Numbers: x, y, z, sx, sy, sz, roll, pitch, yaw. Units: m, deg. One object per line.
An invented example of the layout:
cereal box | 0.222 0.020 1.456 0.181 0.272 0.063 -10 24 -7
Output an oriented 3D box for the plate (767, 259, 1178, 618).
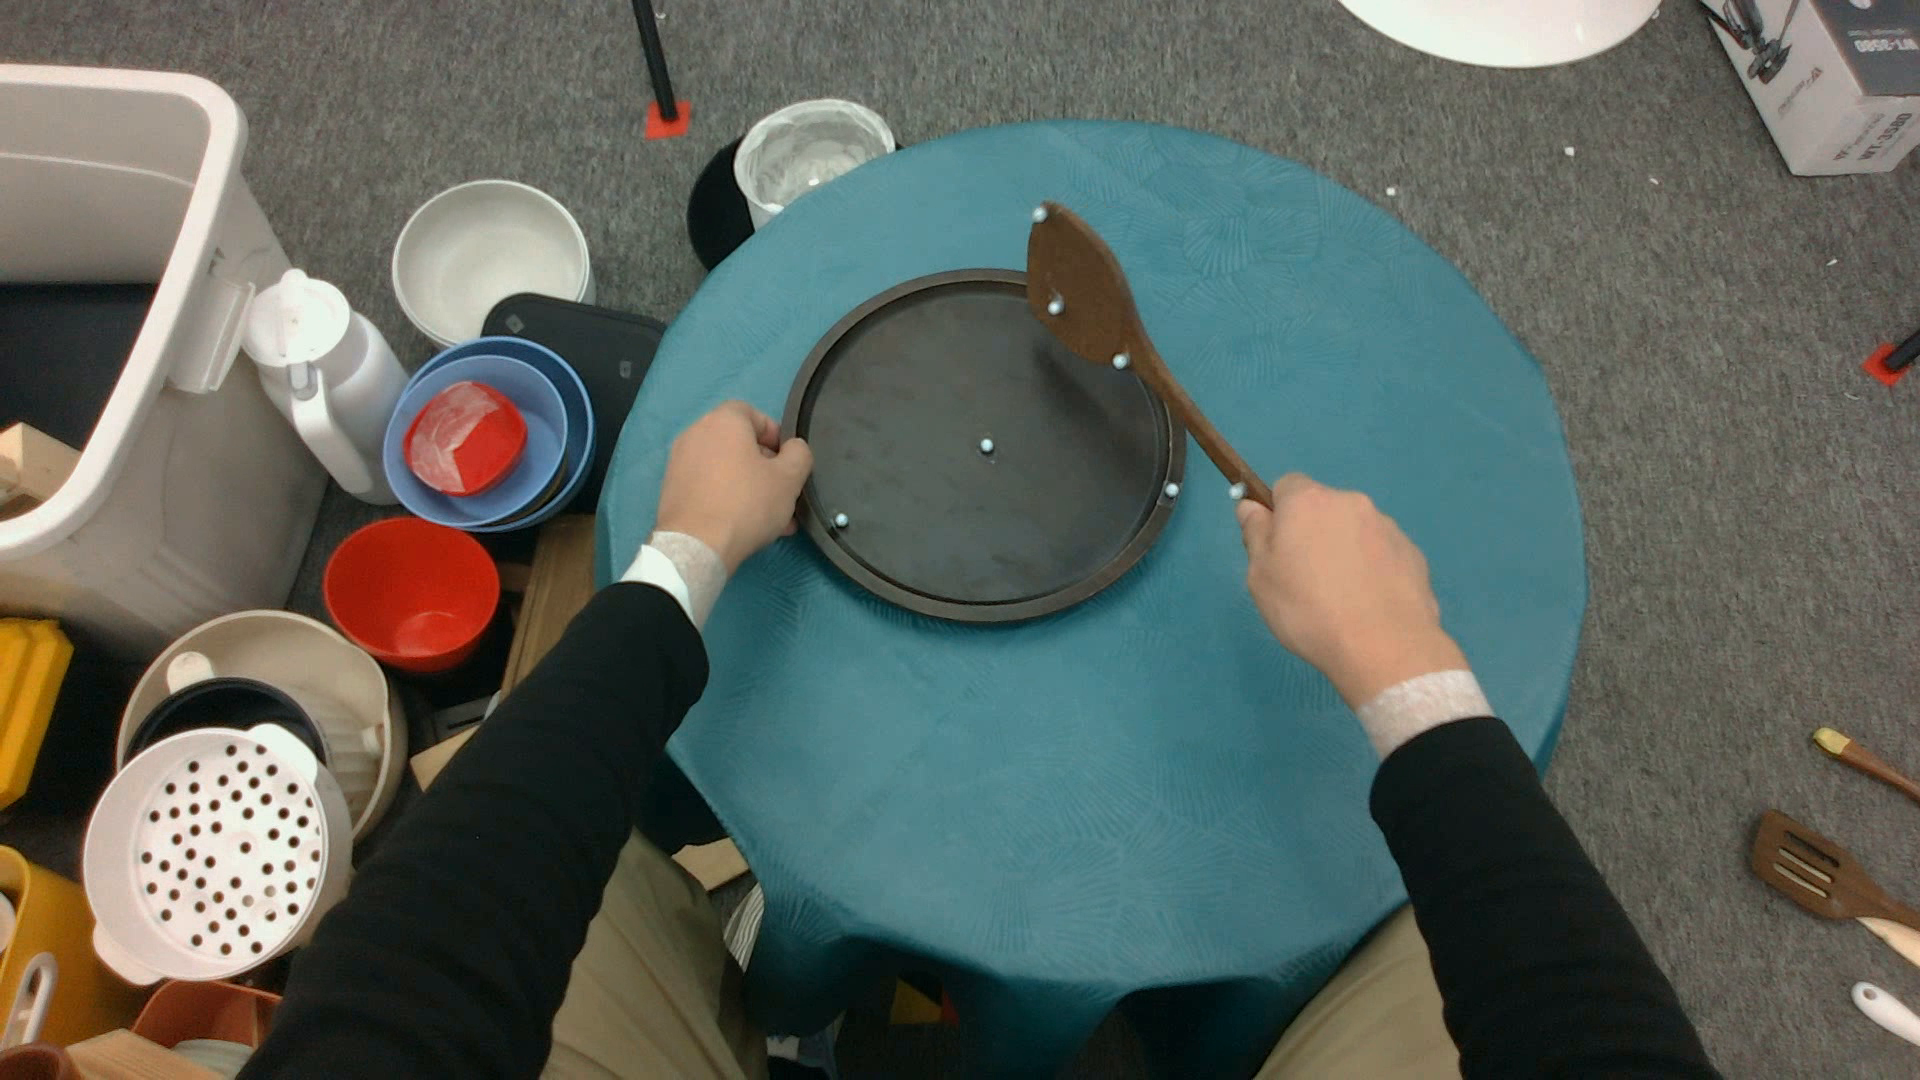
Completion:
plate | 0.007 -0.068 0.856 0.255 0.029 0.255 1 65 -2

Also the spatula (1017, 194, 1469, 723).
spatula | 0.138 -0.050 0.751 0.016 0.095 0.386 -26 61 -19
